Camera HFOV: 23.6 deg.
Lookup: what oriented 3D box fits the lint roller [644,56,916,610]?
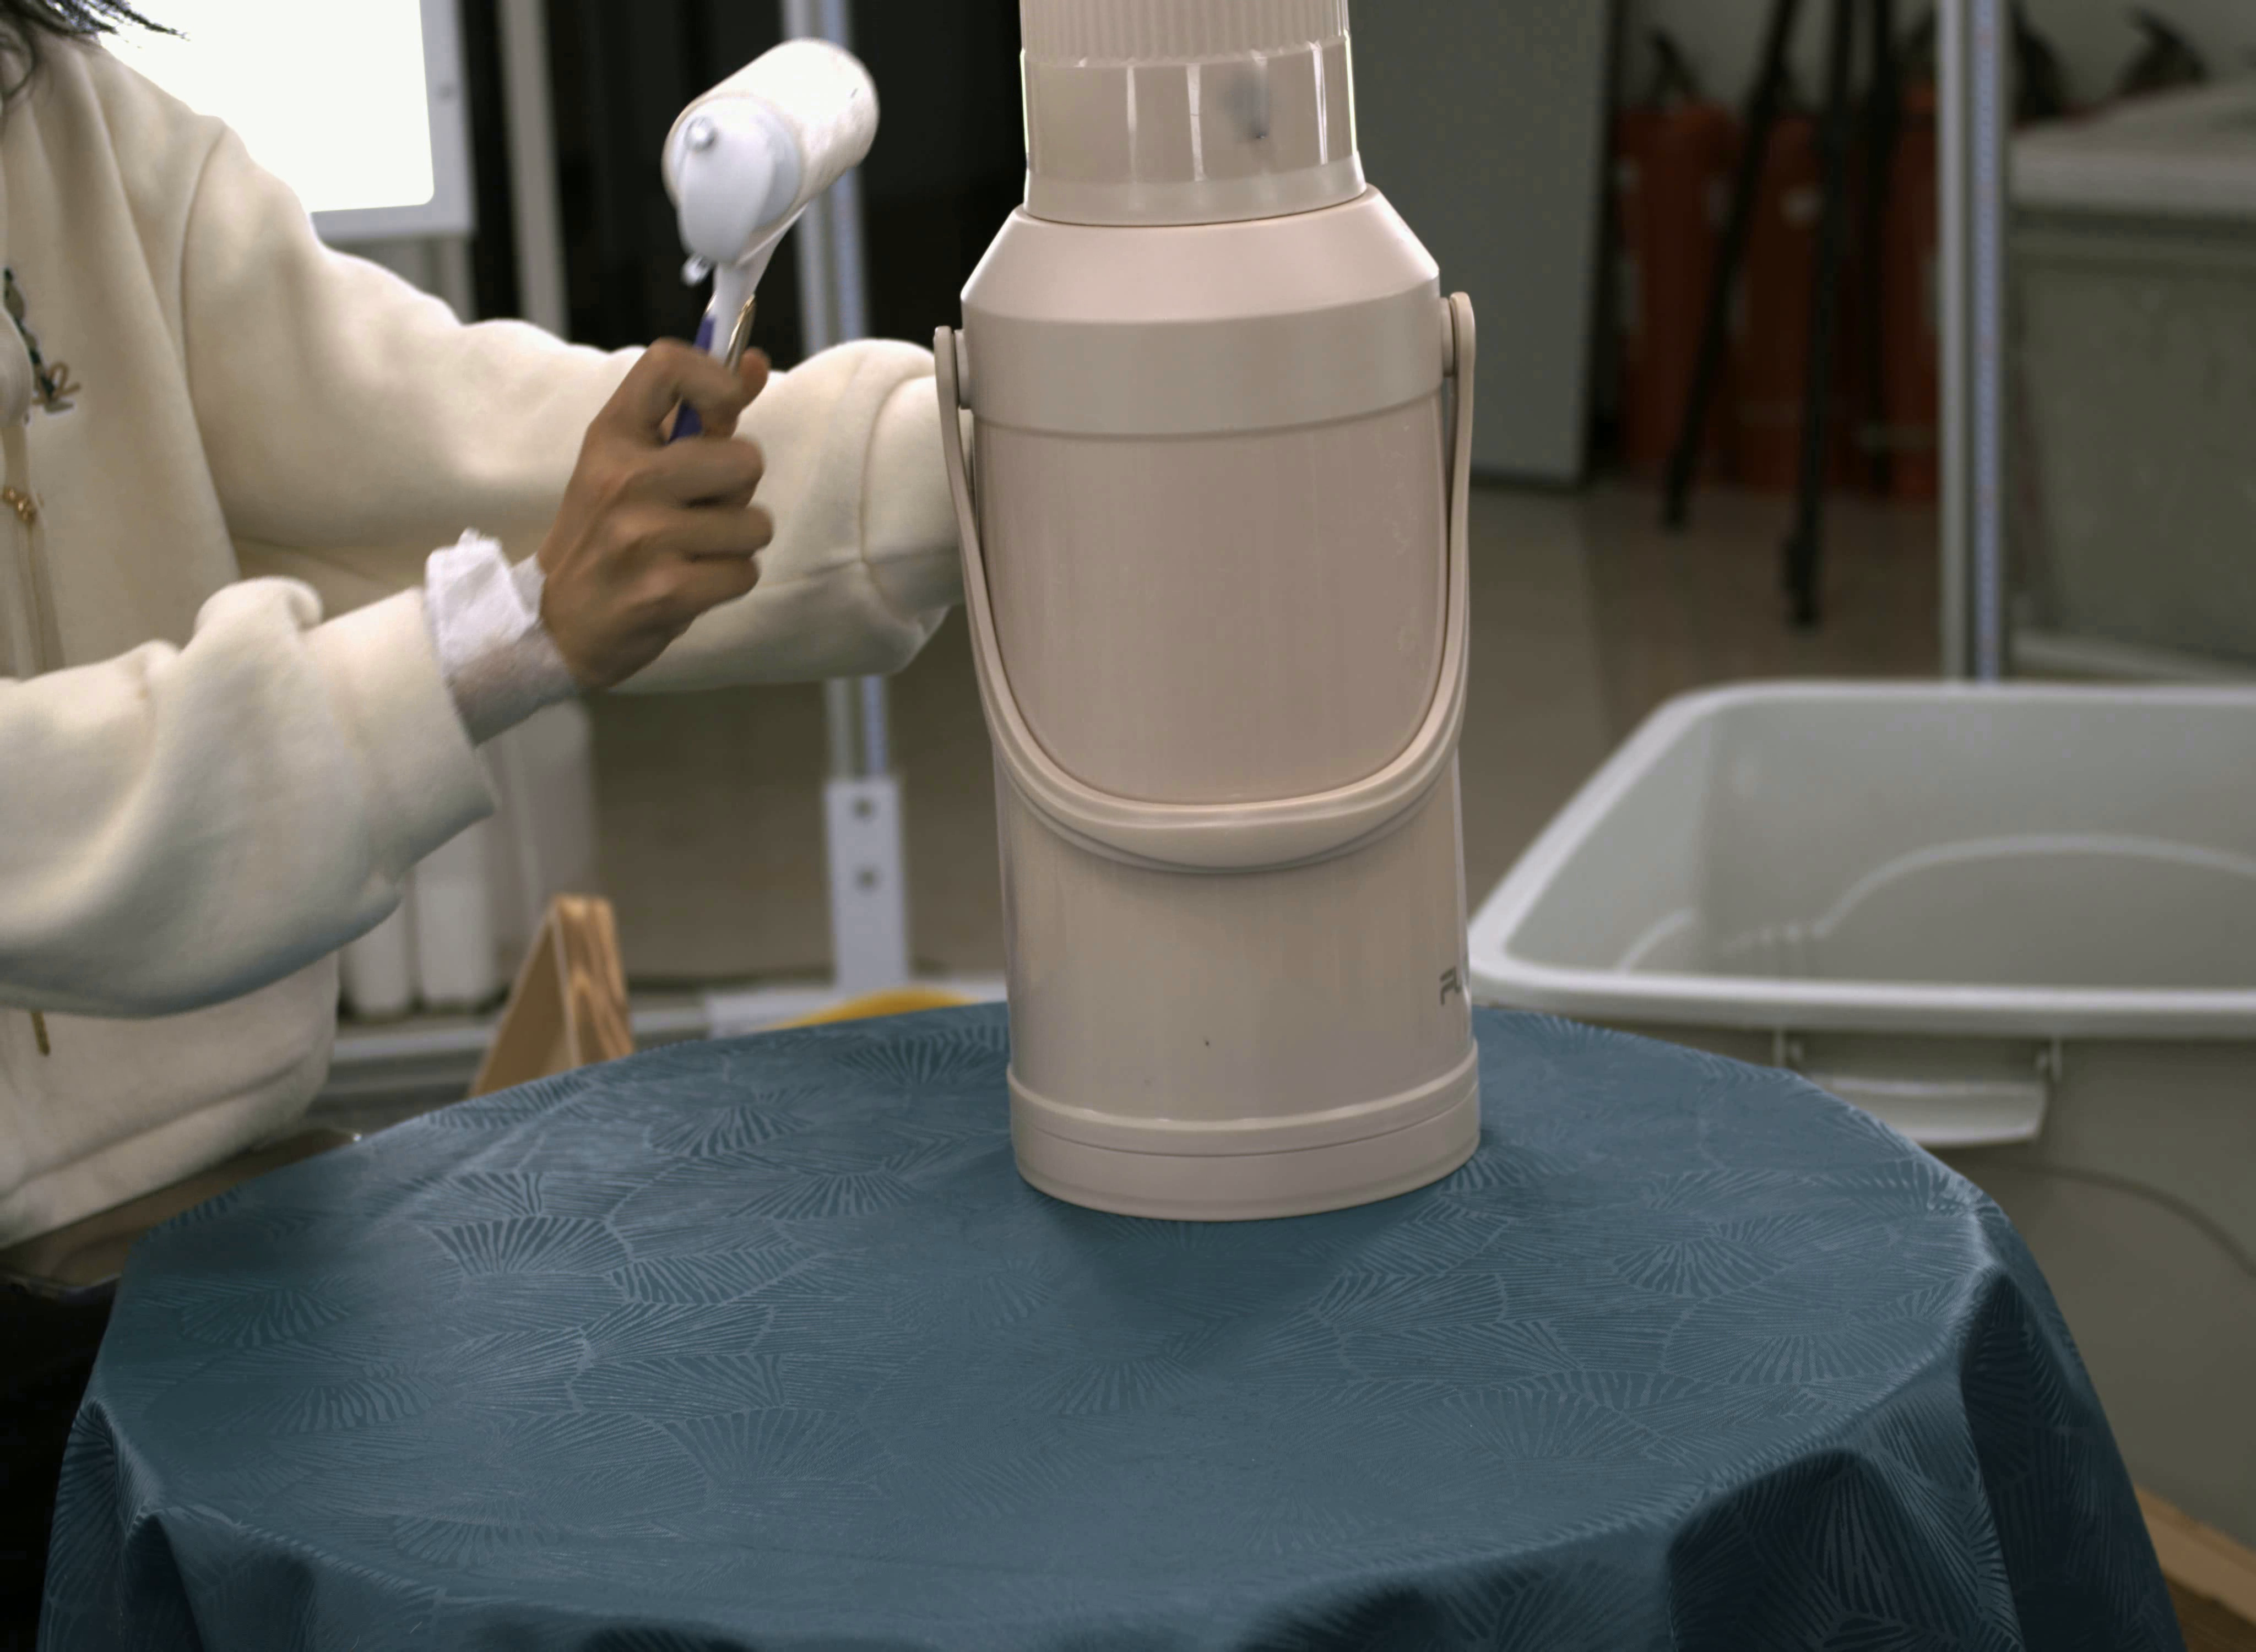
[{"bbox_3d":[-0.128,-0.156,1.724,0.050,0.182,0.132,29,22,1],"label":"lint roller"}]

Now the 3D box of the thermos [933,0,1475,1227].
[{"bbox_3d":[0.028,-0.088,1.775,0.173,0.411,0.207,-5,13,-1],"label":"thermos"}]
